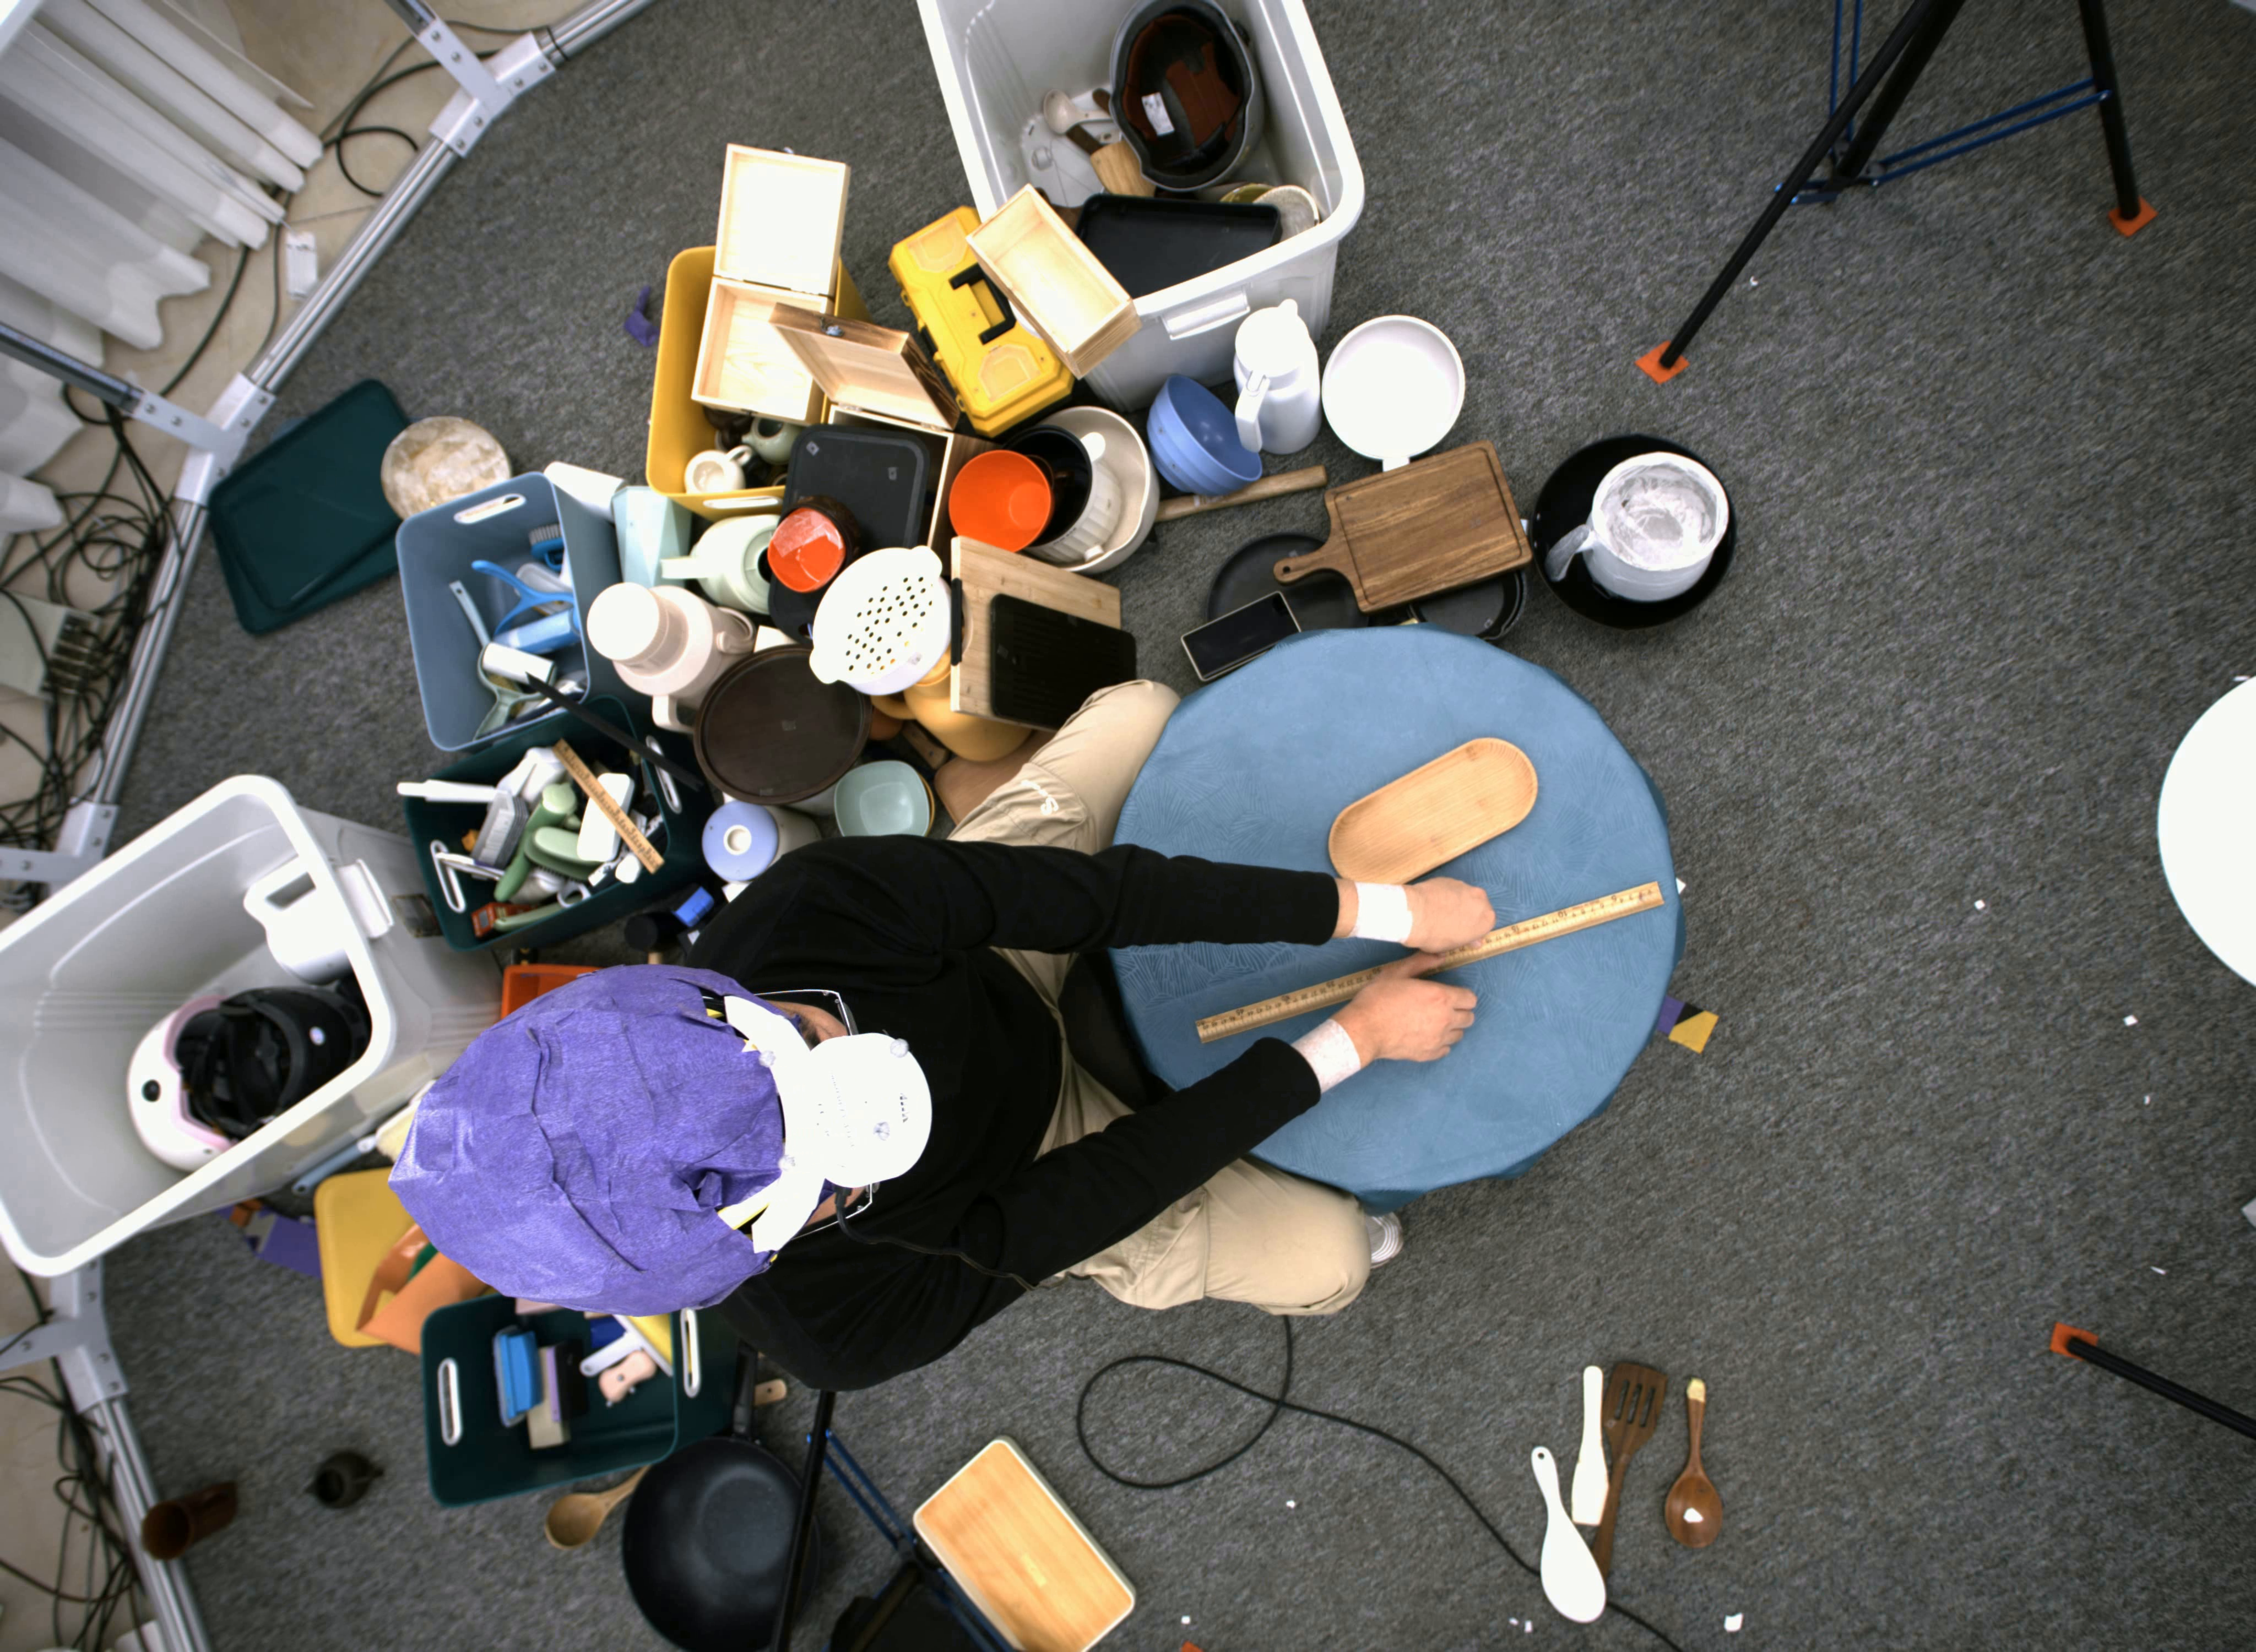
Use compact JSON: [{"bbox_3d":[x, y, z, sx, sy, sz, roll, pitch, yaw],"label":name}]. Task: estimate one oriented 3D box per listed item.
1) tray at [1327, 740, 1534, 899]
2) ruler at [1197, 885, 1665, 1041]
[{"bbox_3d":[0.317,-0.008,1.447,0.233,0.020,0.101,-31,80,9],"label":"tray"},{"bbox_3d":[0.312,0.142,1.447,0.503,0.006,0.026,-18,78,9],"label":"ruler"}]
